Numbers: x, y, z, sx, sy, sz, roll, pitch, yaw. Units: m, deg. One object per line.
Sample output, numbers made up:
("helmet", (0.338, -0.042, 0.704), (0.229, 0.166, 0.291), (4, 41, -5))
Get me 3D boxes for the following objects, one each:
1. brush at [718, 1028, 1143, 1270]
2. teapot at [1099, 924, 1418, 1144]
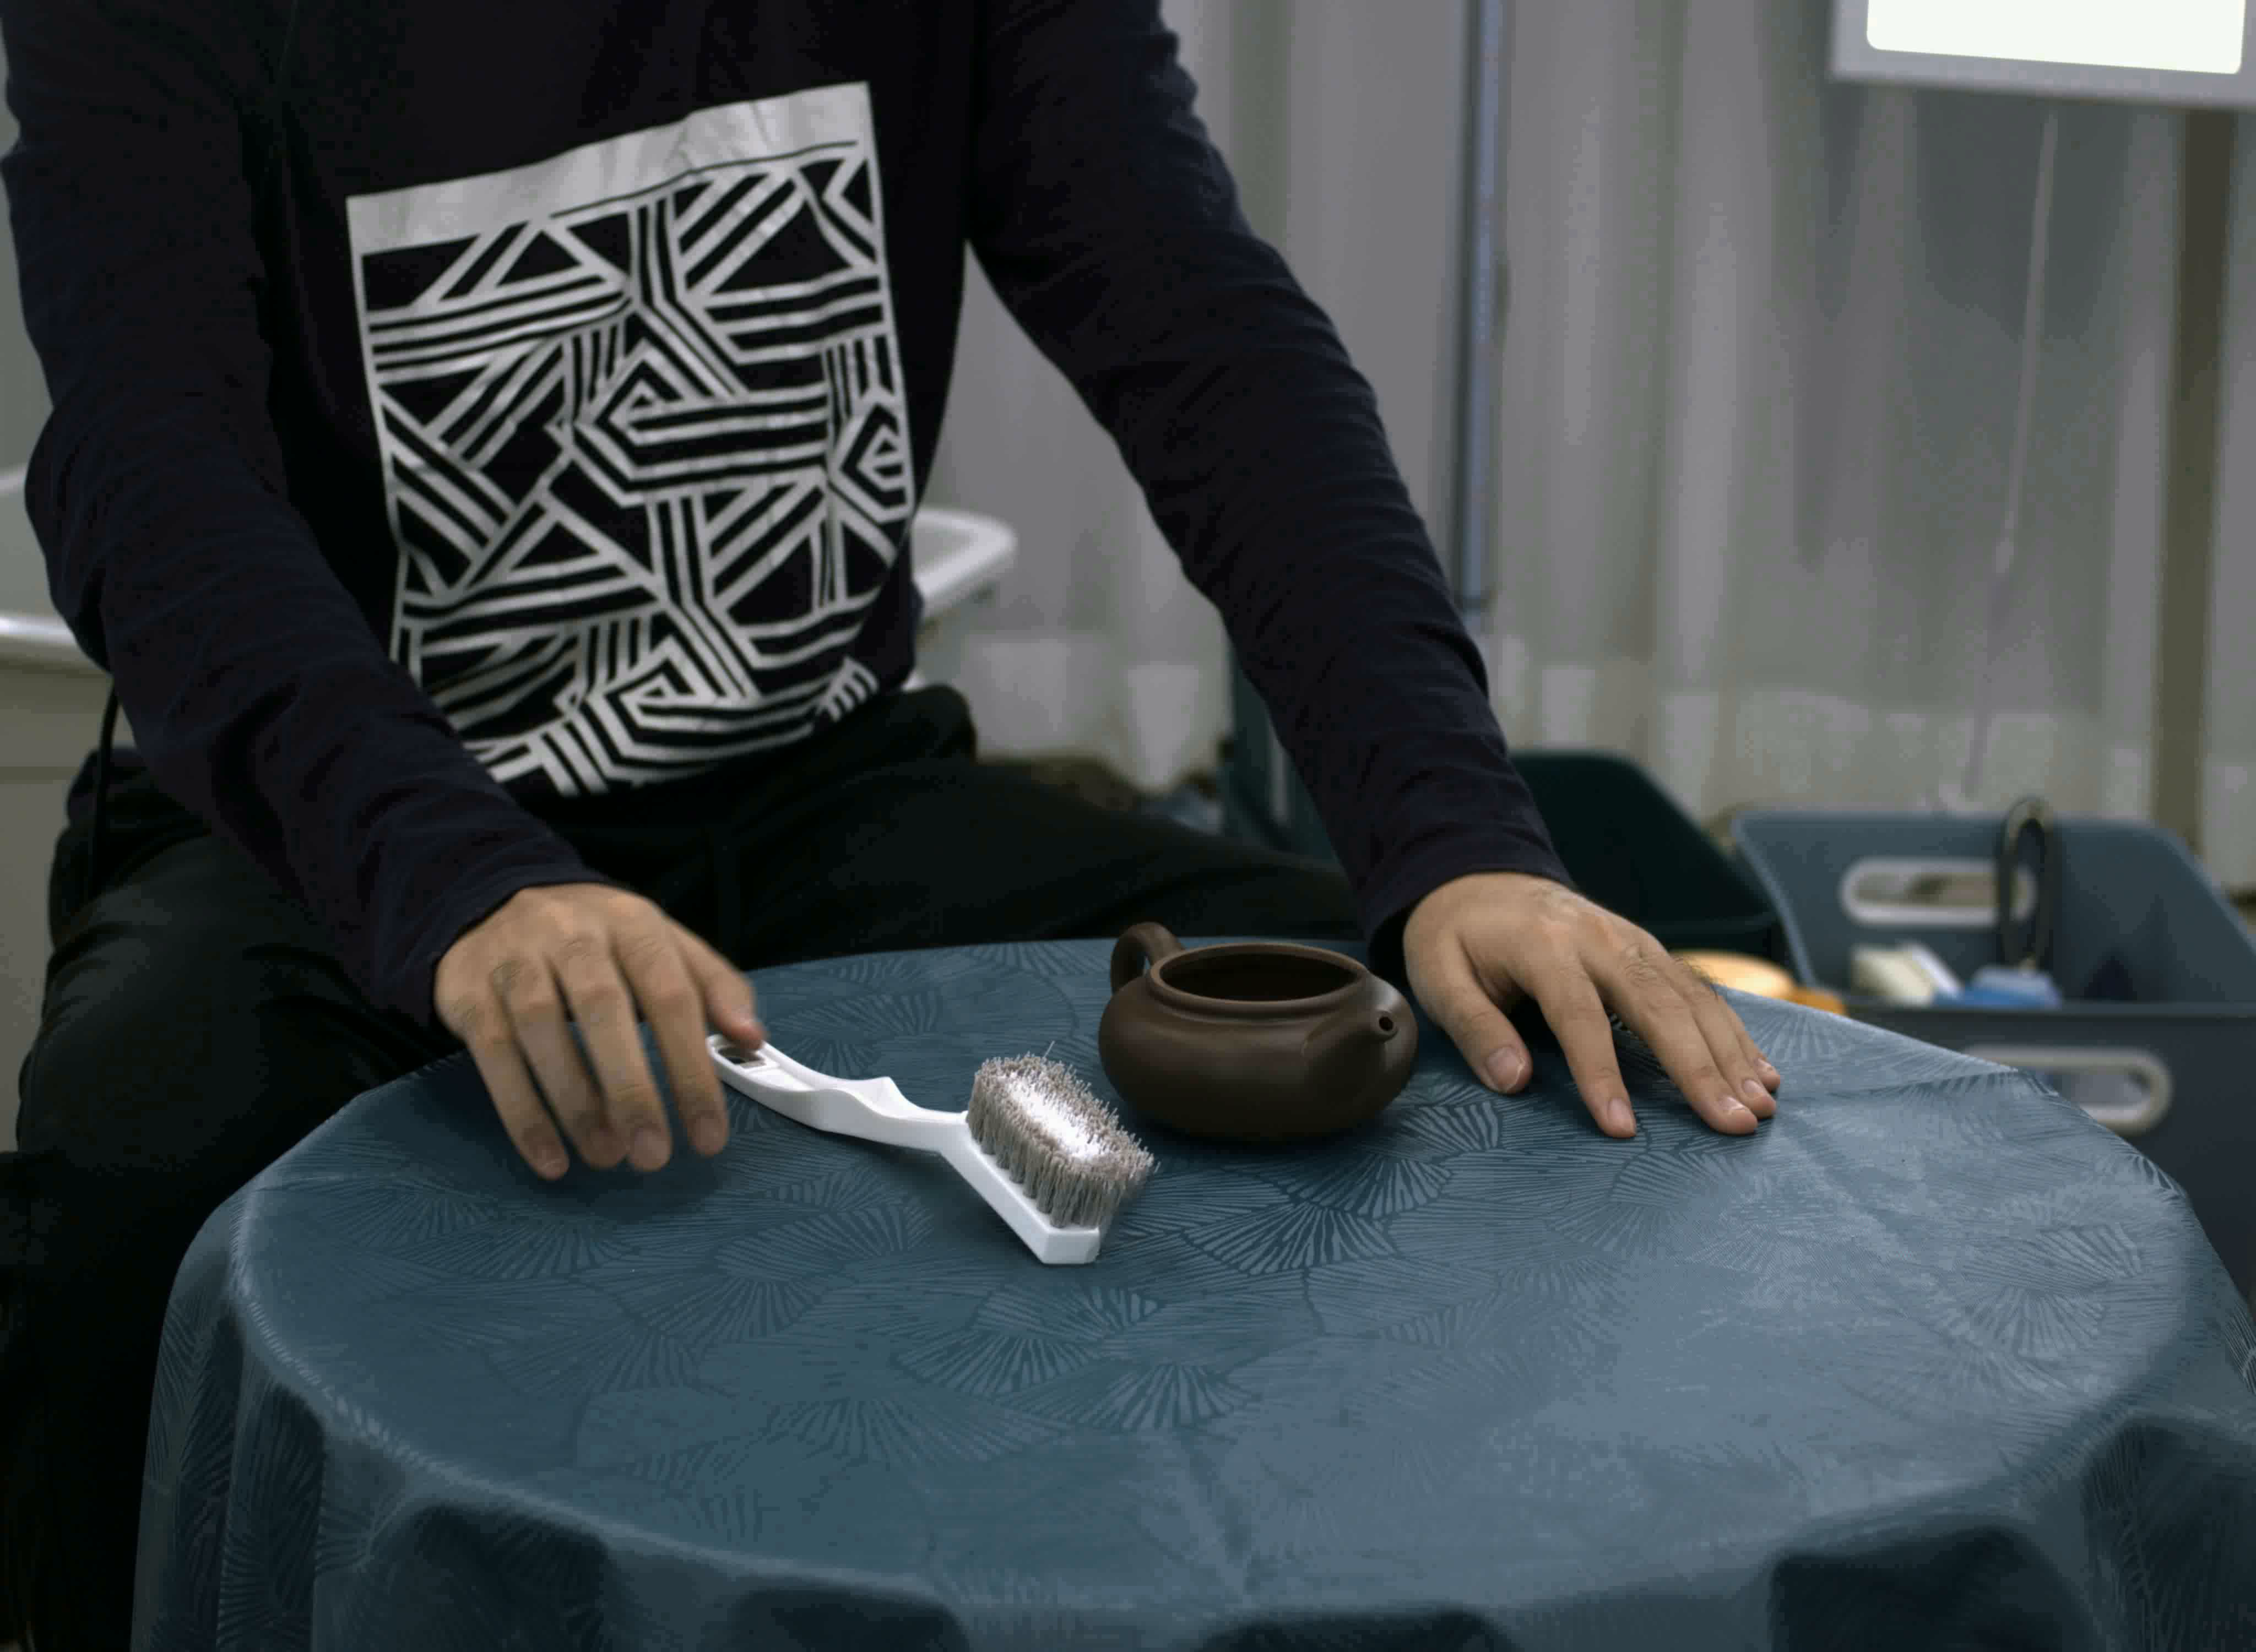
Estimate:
("brush", (-0.068, 0.081, 1.645), (0.034, 0.050, 0.240), (-12, 20, -29))
("teapot", (0.039, 0.067, 1.693), (0.103, 0.054, 0.151), (-12, 20, -38))
